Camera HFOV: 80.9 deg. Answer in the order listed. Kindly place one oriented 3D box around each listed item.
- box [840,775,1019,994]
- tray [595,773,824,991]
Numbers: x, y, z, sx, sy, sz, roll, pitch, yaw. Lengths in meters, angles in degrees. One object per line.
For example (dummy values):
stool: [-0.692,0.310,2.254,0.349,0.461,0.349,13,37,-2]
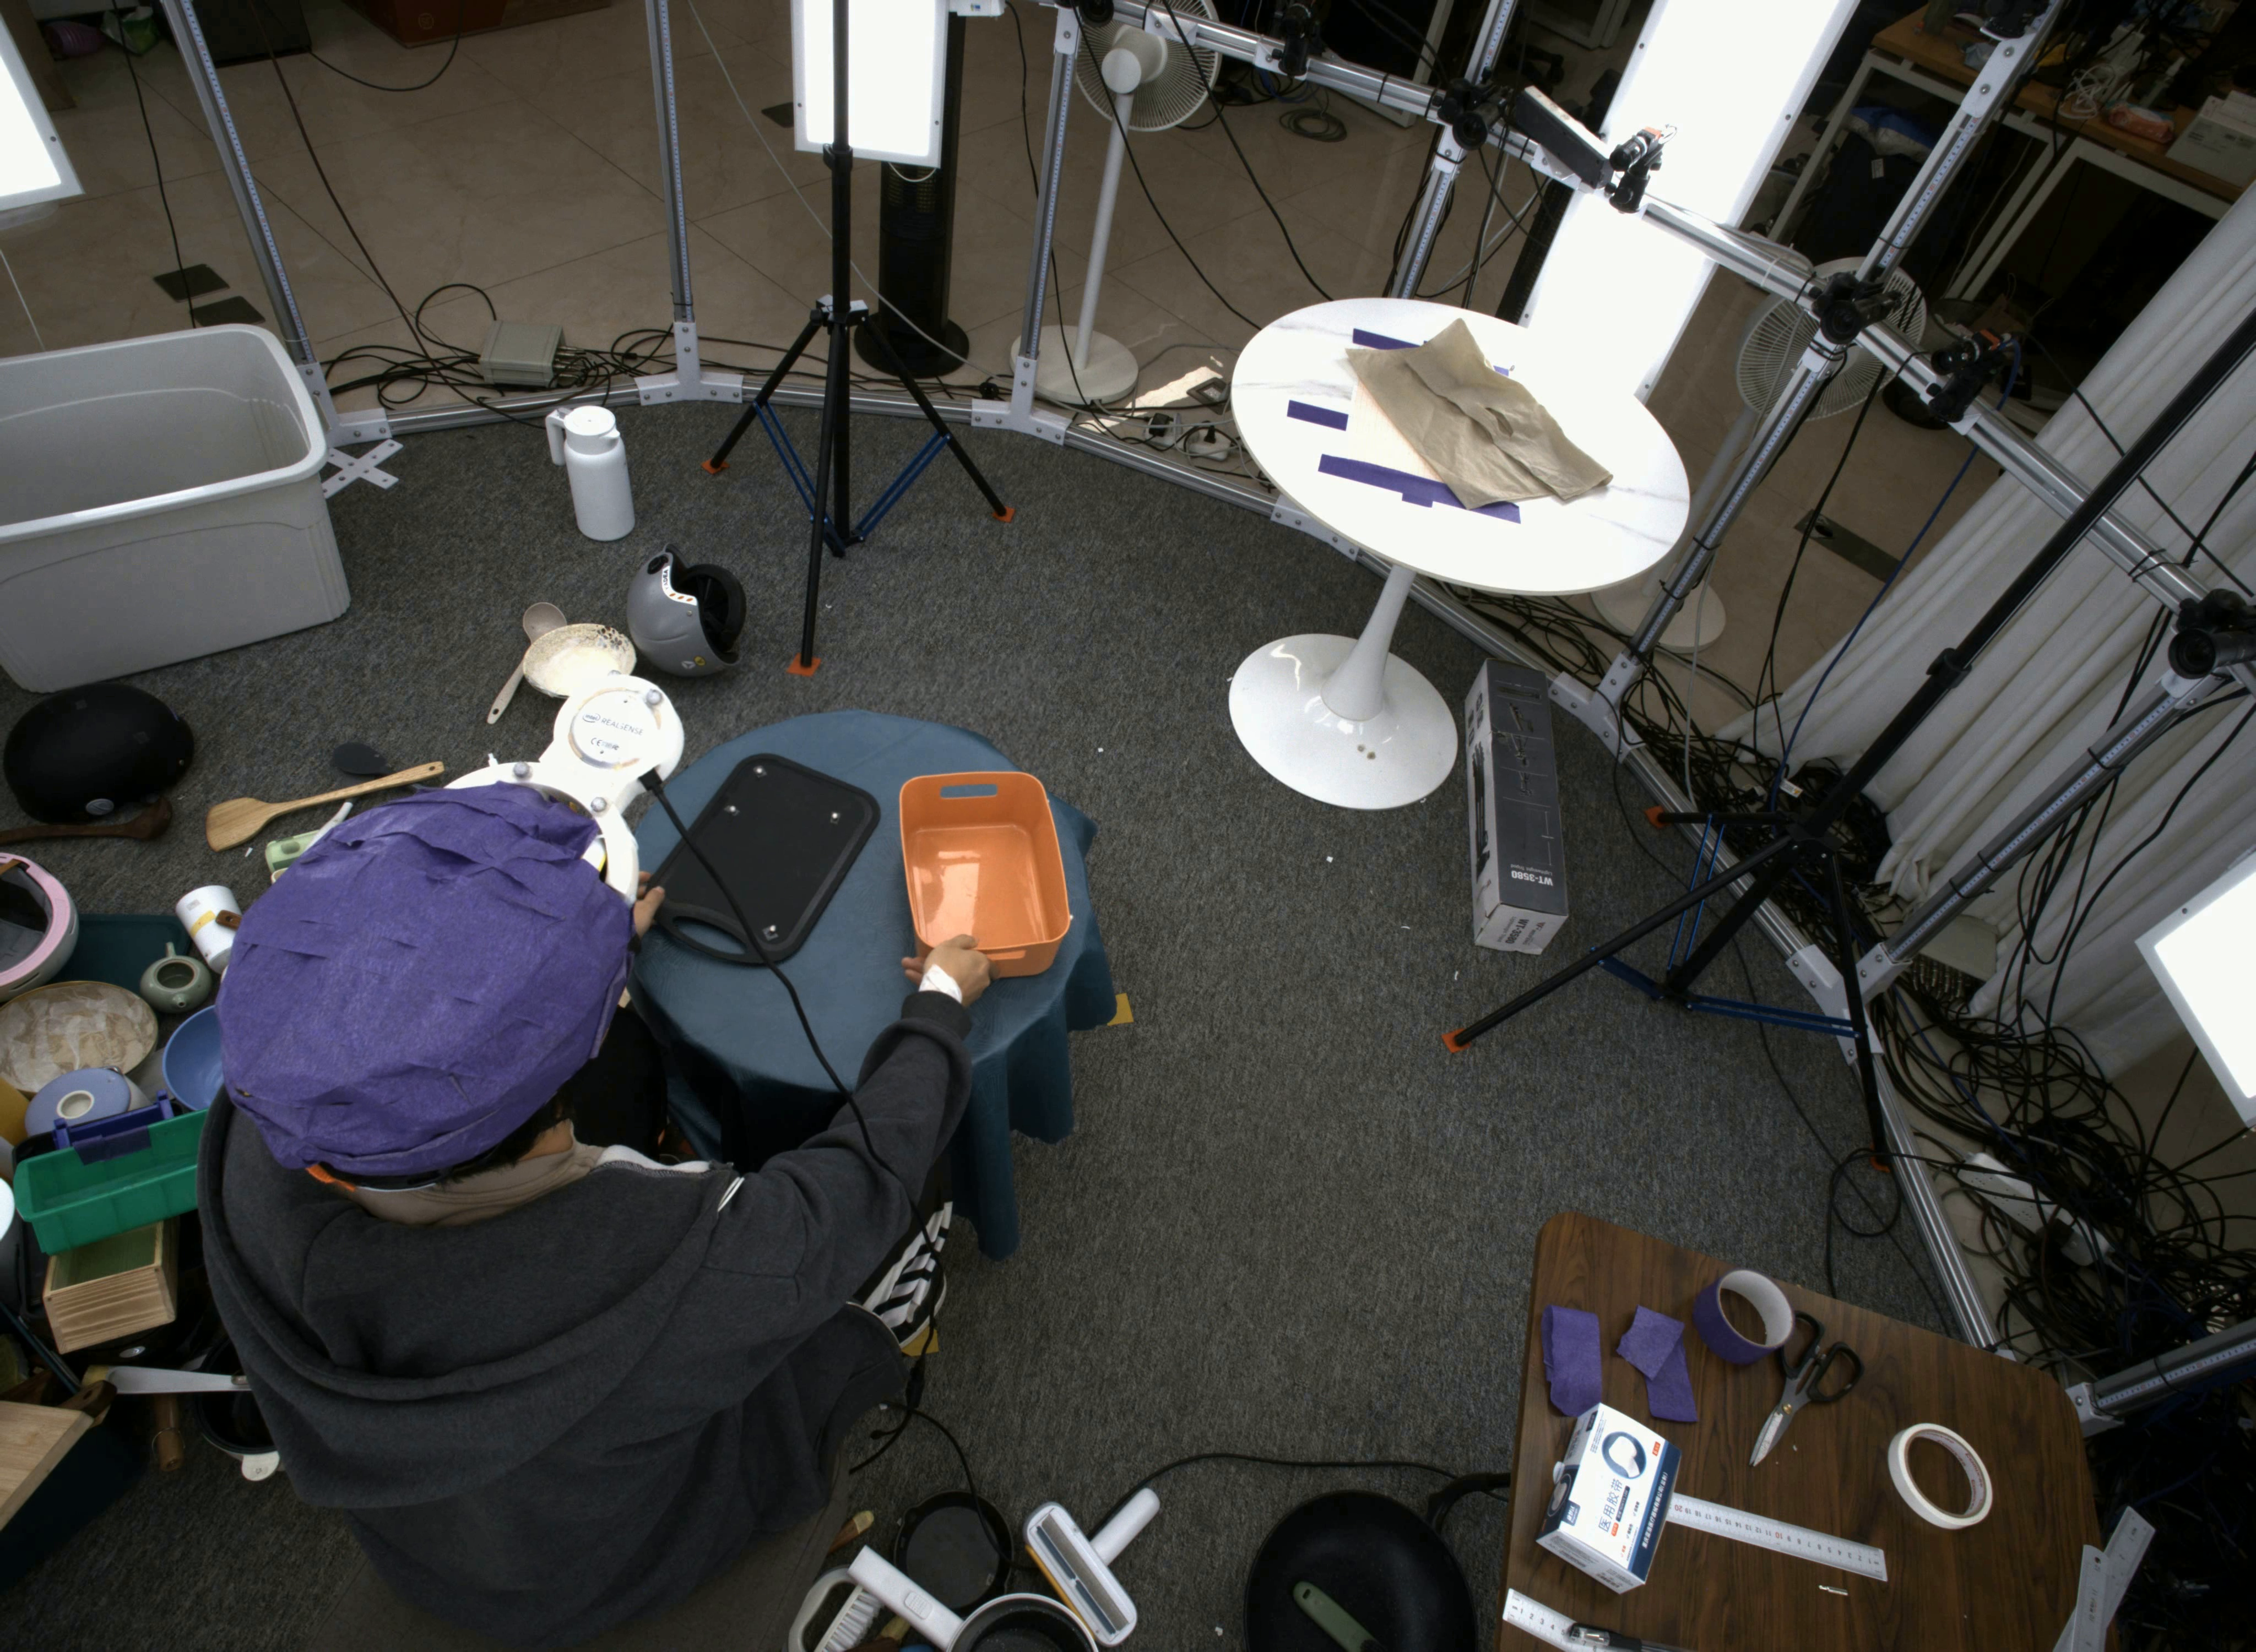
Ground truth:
box: [-0.256,0.076,1.648,0.200,0.104,0.266,-6,55,-18]
tray: [-0.533,0.065,1.641,0.209,0.010,0.321,20,50,-2]
